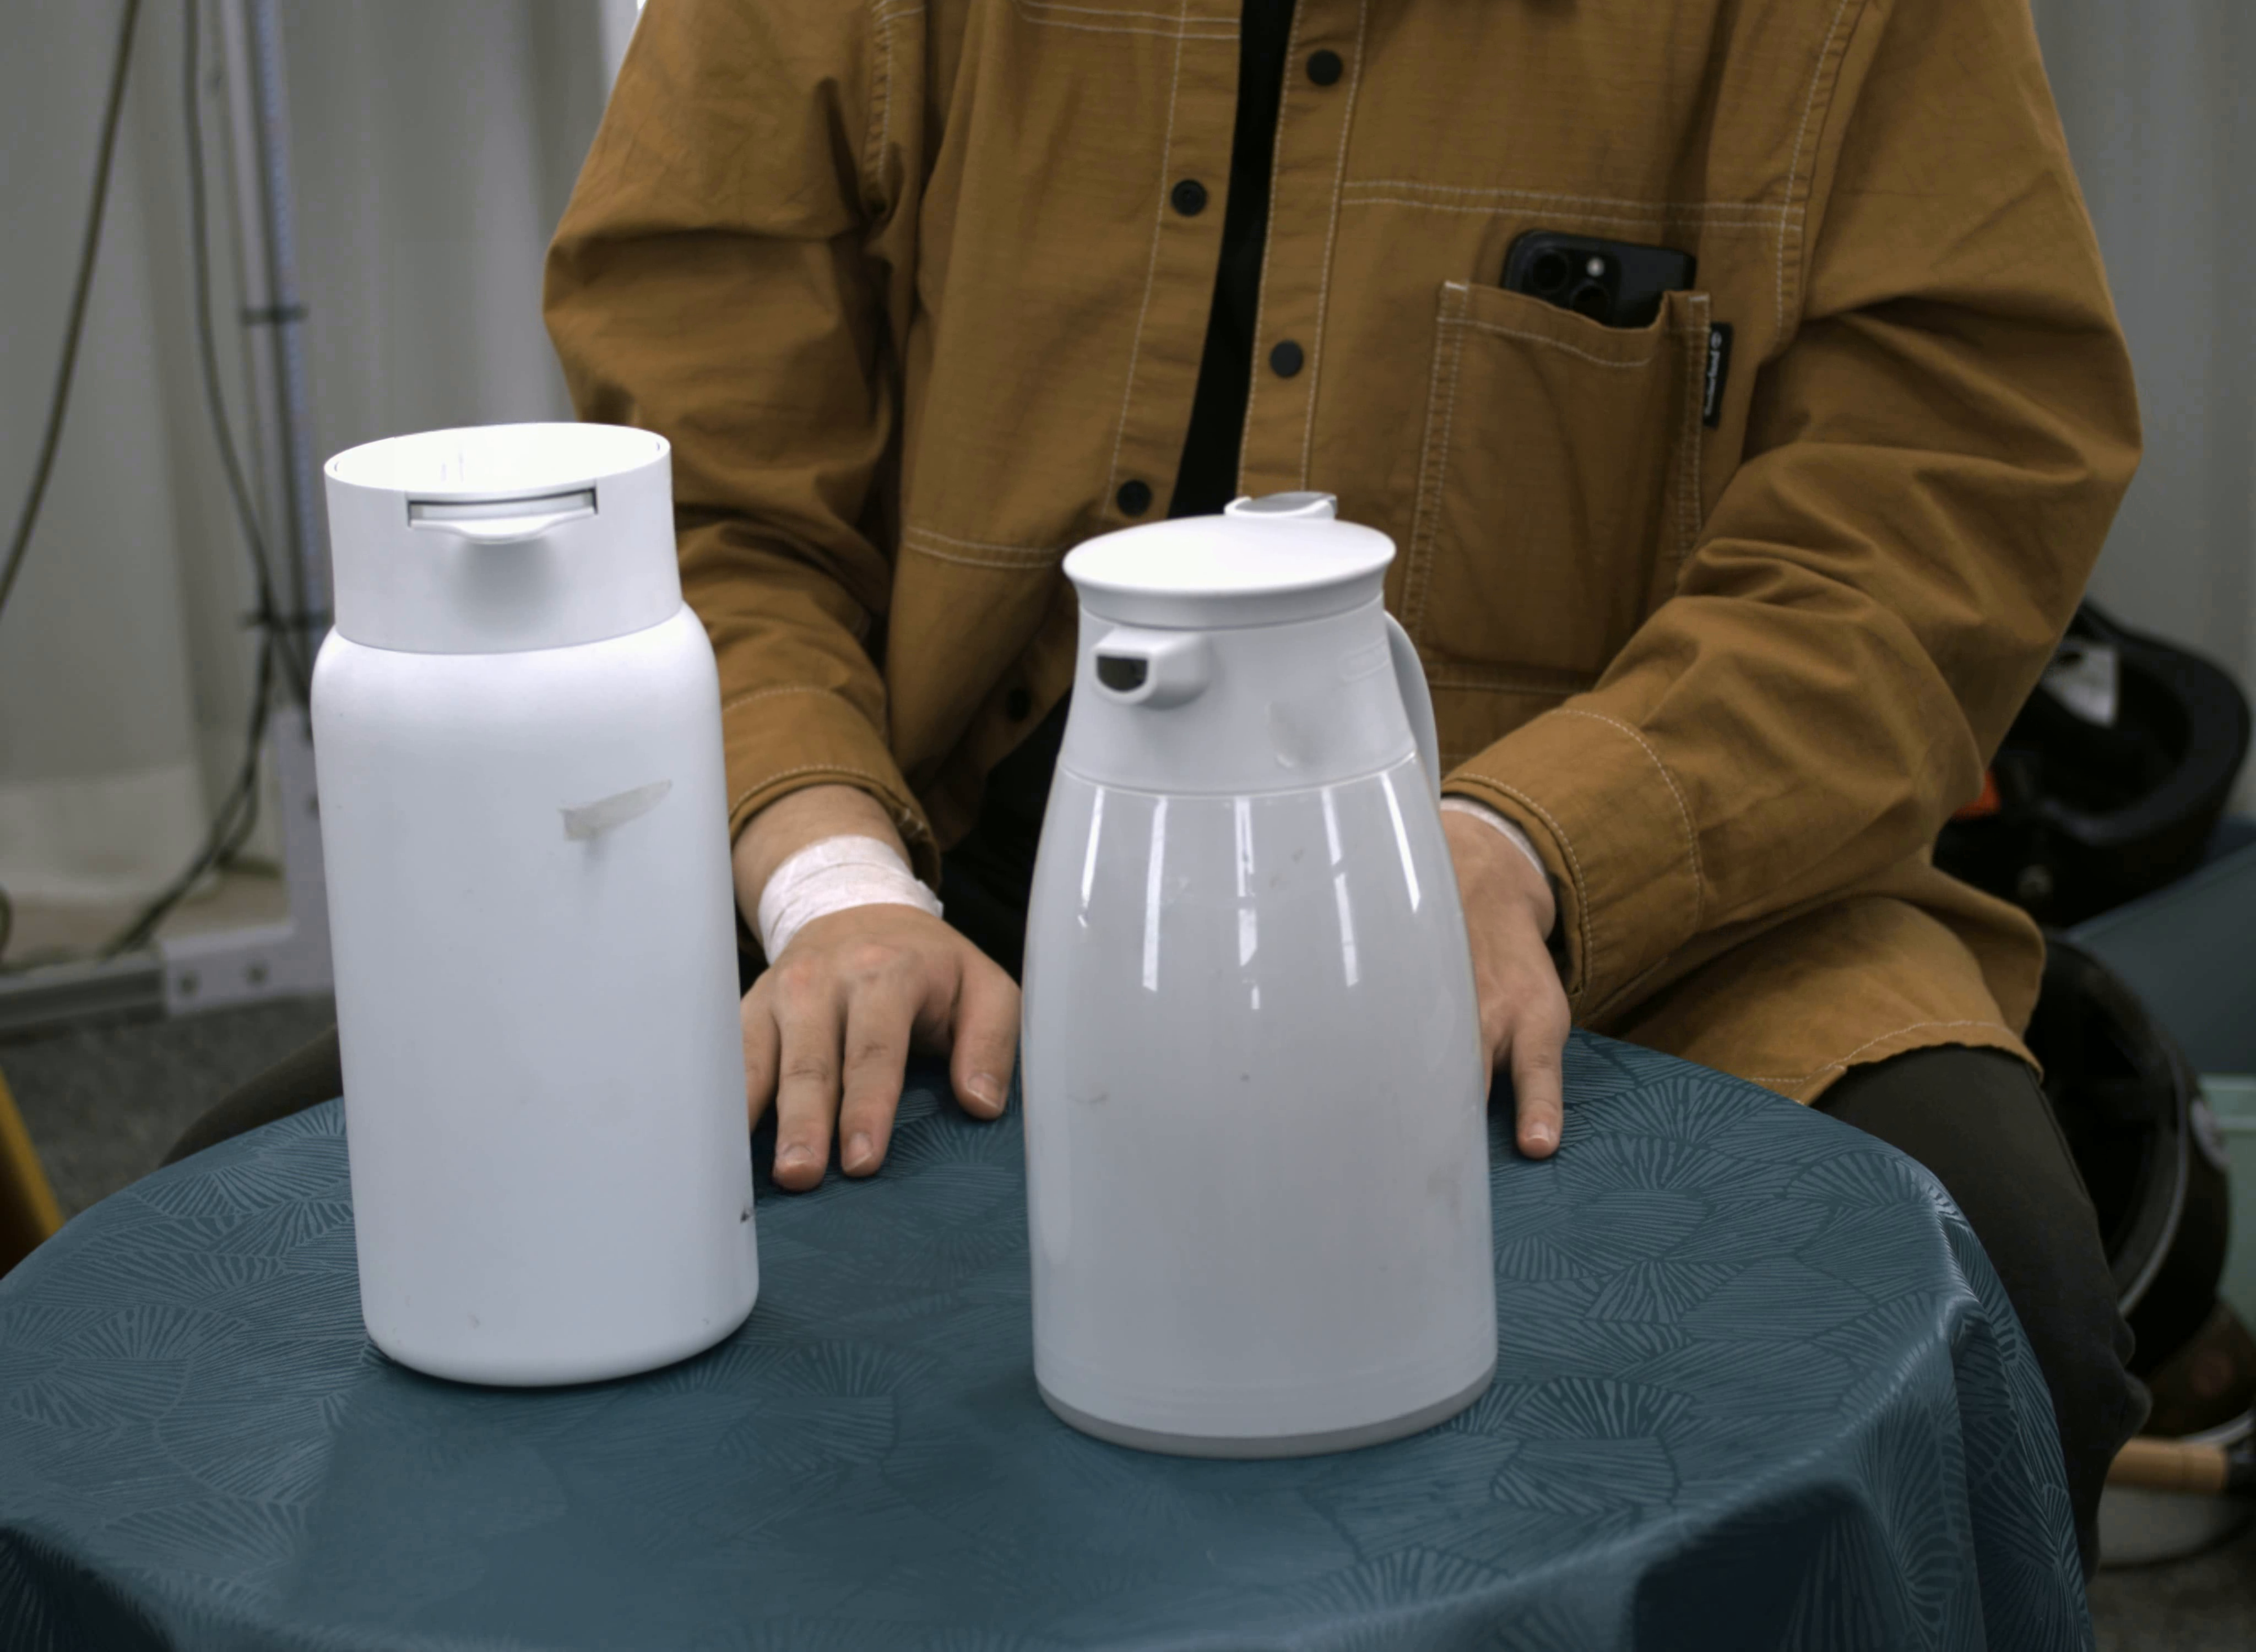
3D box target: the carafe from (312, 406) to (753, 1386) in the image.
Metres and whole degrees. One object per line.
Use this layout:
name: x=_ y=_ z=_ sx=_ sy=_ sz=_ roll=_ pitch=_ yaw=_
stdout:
carafe: x=-0.177 y=0.016 z=1.603 sx=0.123 sy=0.268 sz=0.174 roll=-6 pitch=14 yaw=-7

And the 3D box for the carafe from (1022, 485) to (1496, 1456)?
carafe: x=0.042 y=0.031 z=1.538 sx=0.133 sy=0.248 sz=0.168 roll=5 pitch=15 yaw=28
